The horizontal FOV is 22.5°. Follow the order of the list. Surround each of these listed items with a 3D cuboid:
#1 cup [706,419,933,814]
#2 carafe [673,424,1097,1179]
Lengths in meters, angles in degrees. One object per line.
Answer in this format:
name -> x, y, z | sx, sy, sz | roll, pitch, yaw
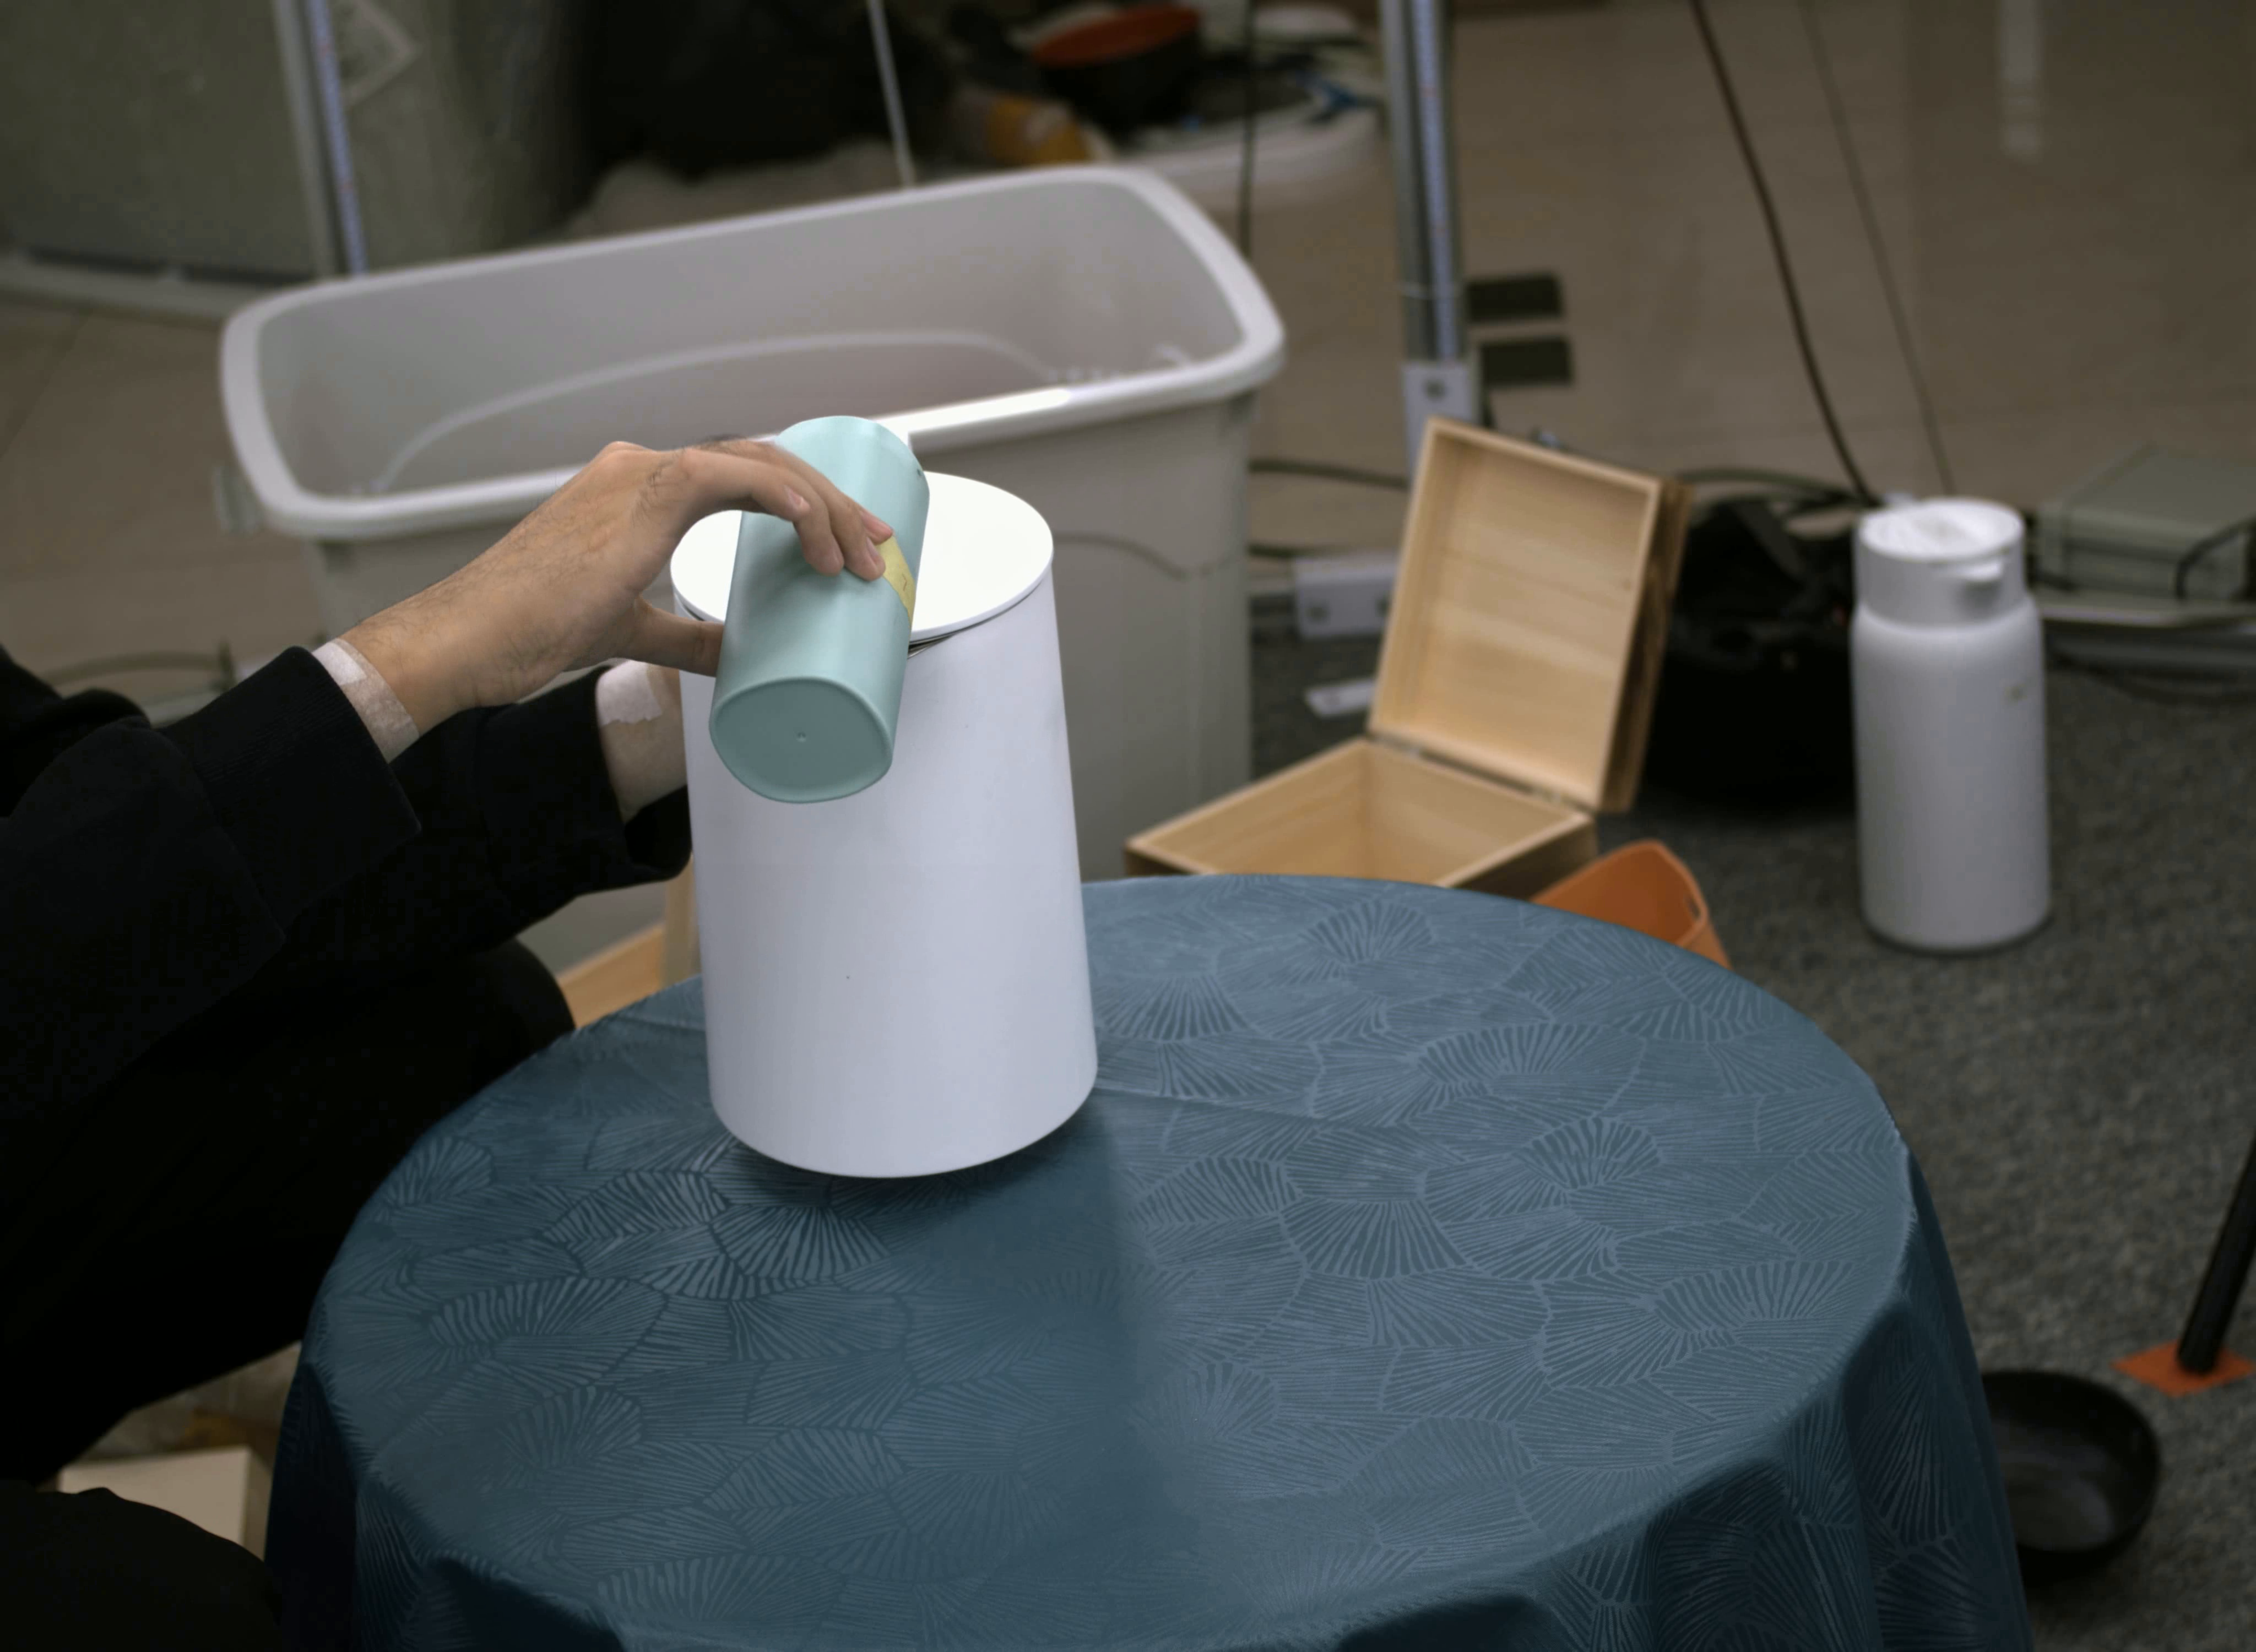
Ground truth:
cup -> -0.108, -0.073, 1.967 | 0.066, 0.068, 0.130 | -2, 49, 9
carafe -> -0.091, -0.016, 2.175 | 0.152, 0.244, 0.209 | -1, 30, 2
